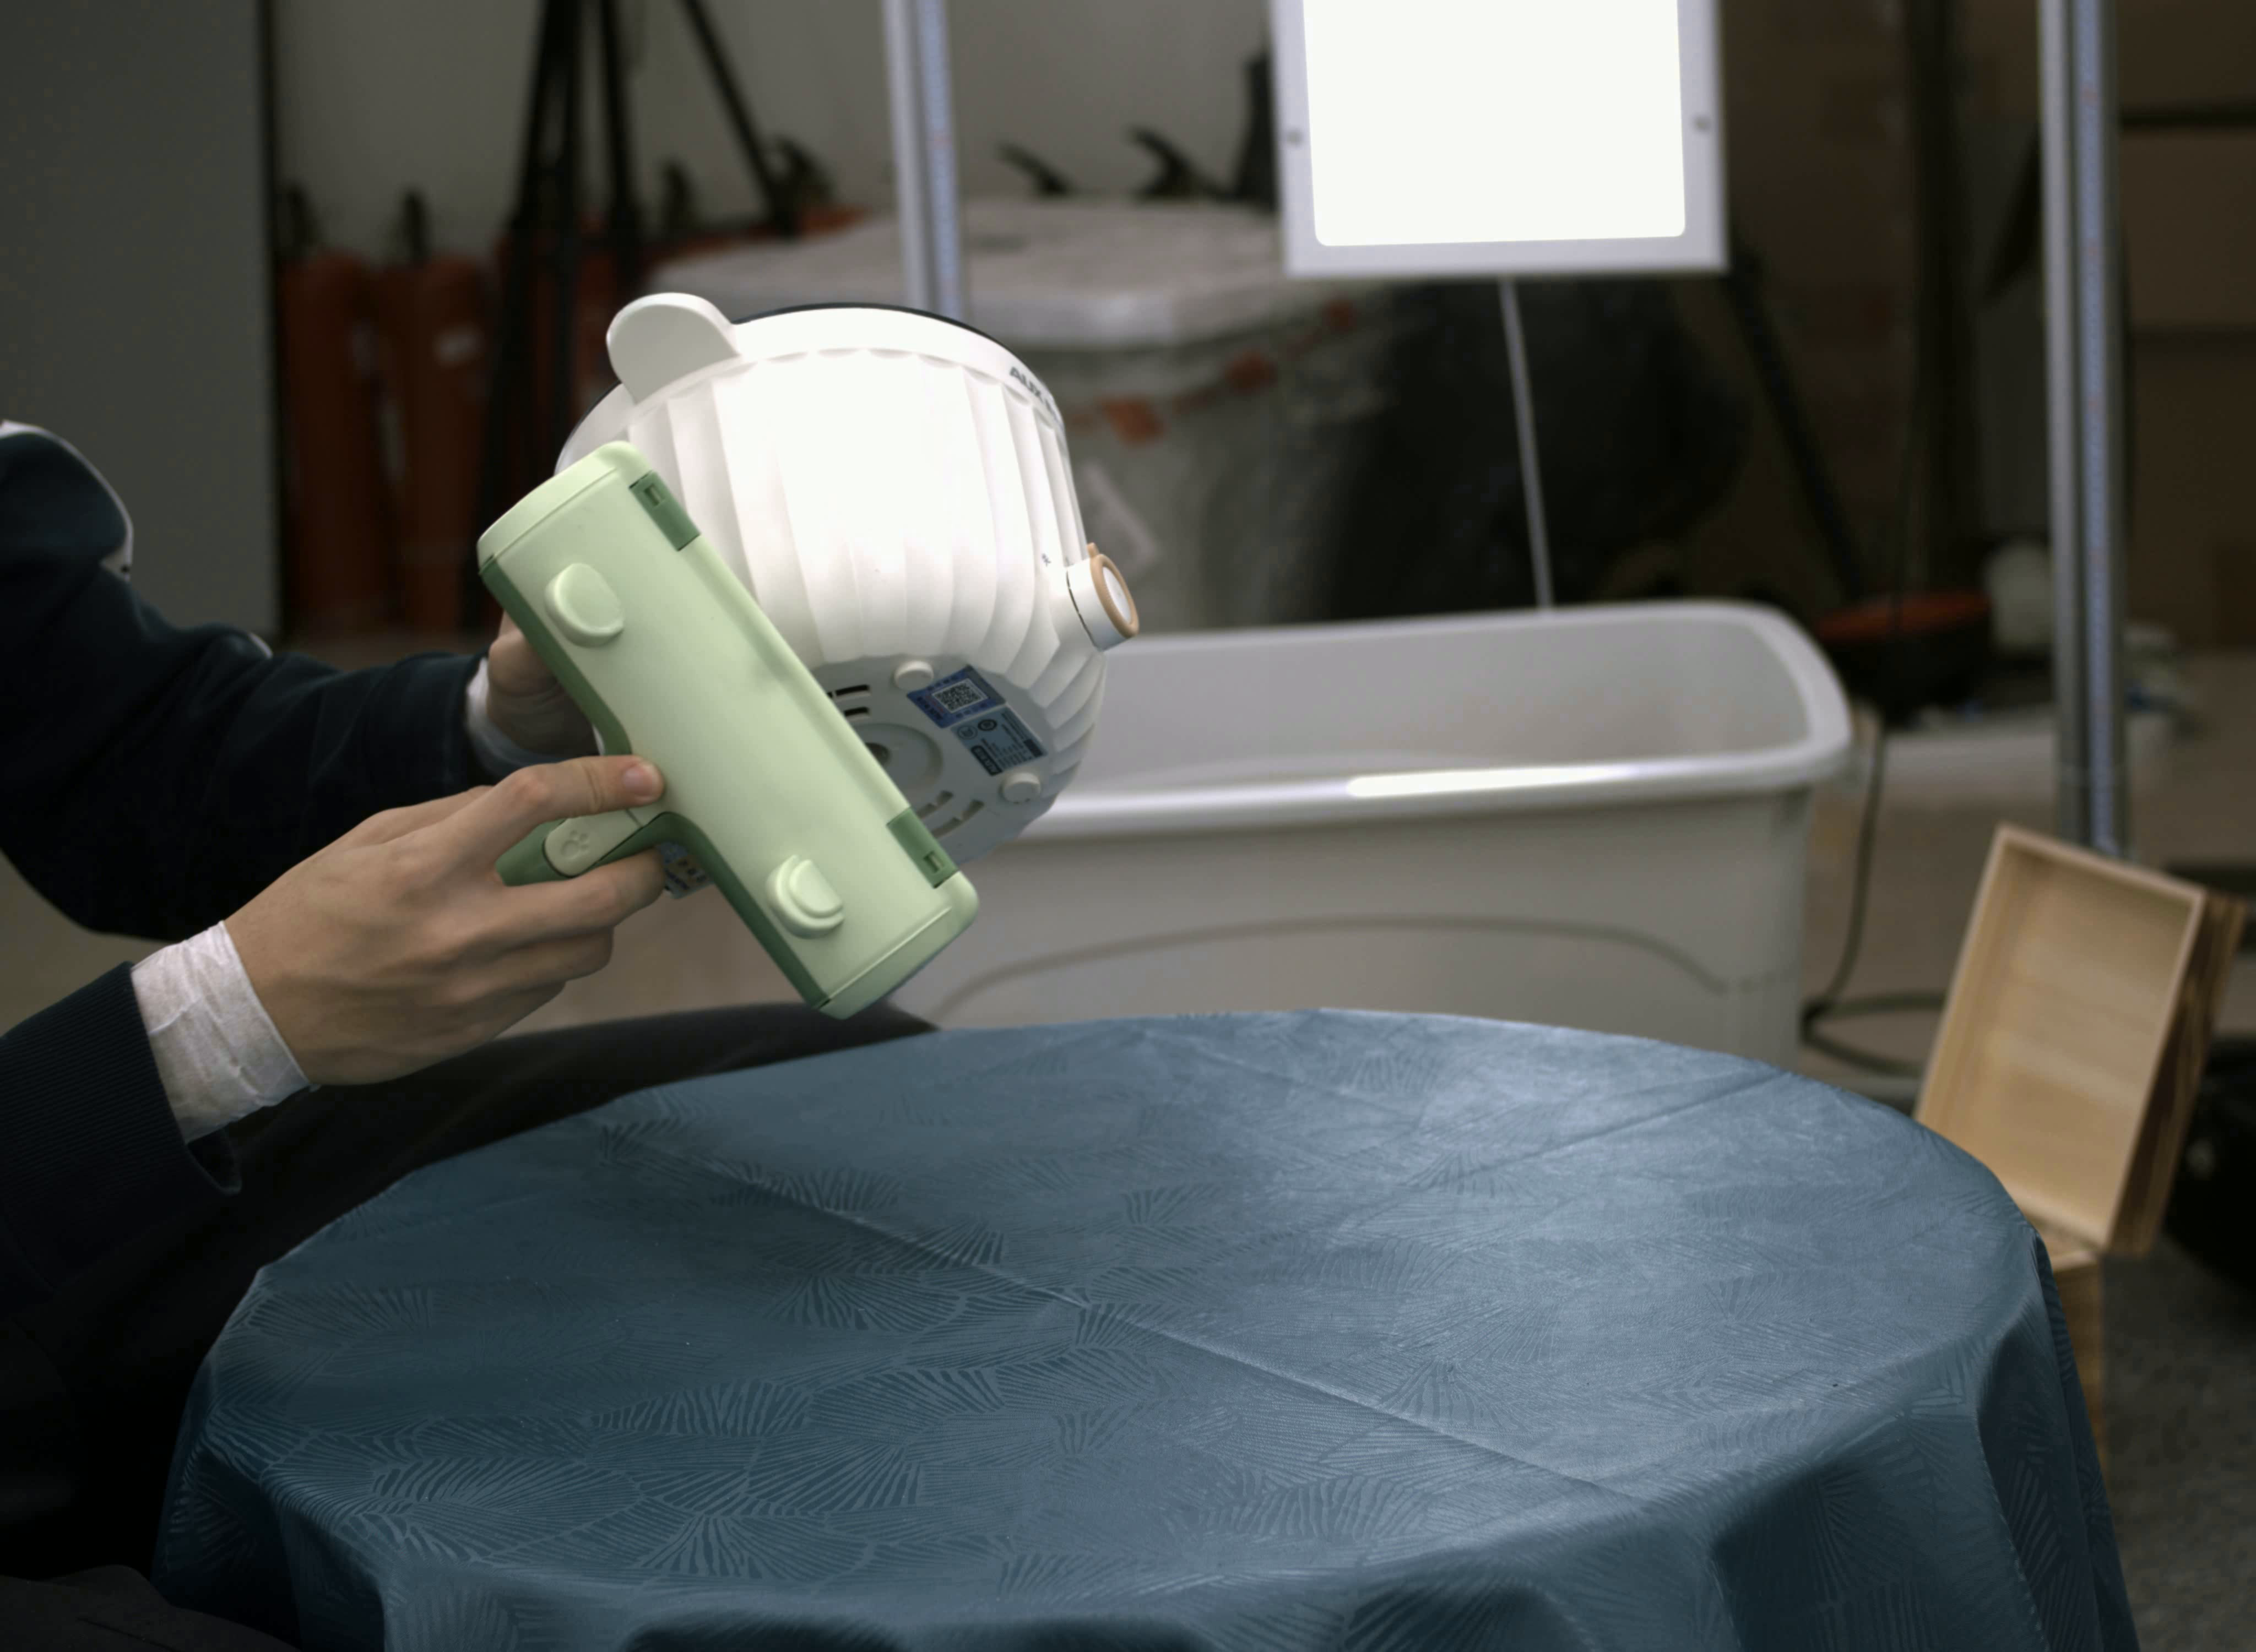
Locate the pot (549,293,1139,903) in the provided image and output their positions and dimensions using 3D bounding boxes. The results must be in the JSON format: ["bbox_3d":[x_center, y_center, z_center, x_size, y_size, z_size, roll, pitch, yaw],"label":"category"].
[{"bbox_3d":[-0.094,-0.069,1.874,0.192,0.237,0.143,-26,52,14],"label":"pot"}]

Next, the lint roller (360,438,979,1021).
[{"bbox_3d":[-0.175,0.005,1.764,0.183,0.199,0.082,-37,1,2],"label":"lint roller"}]
